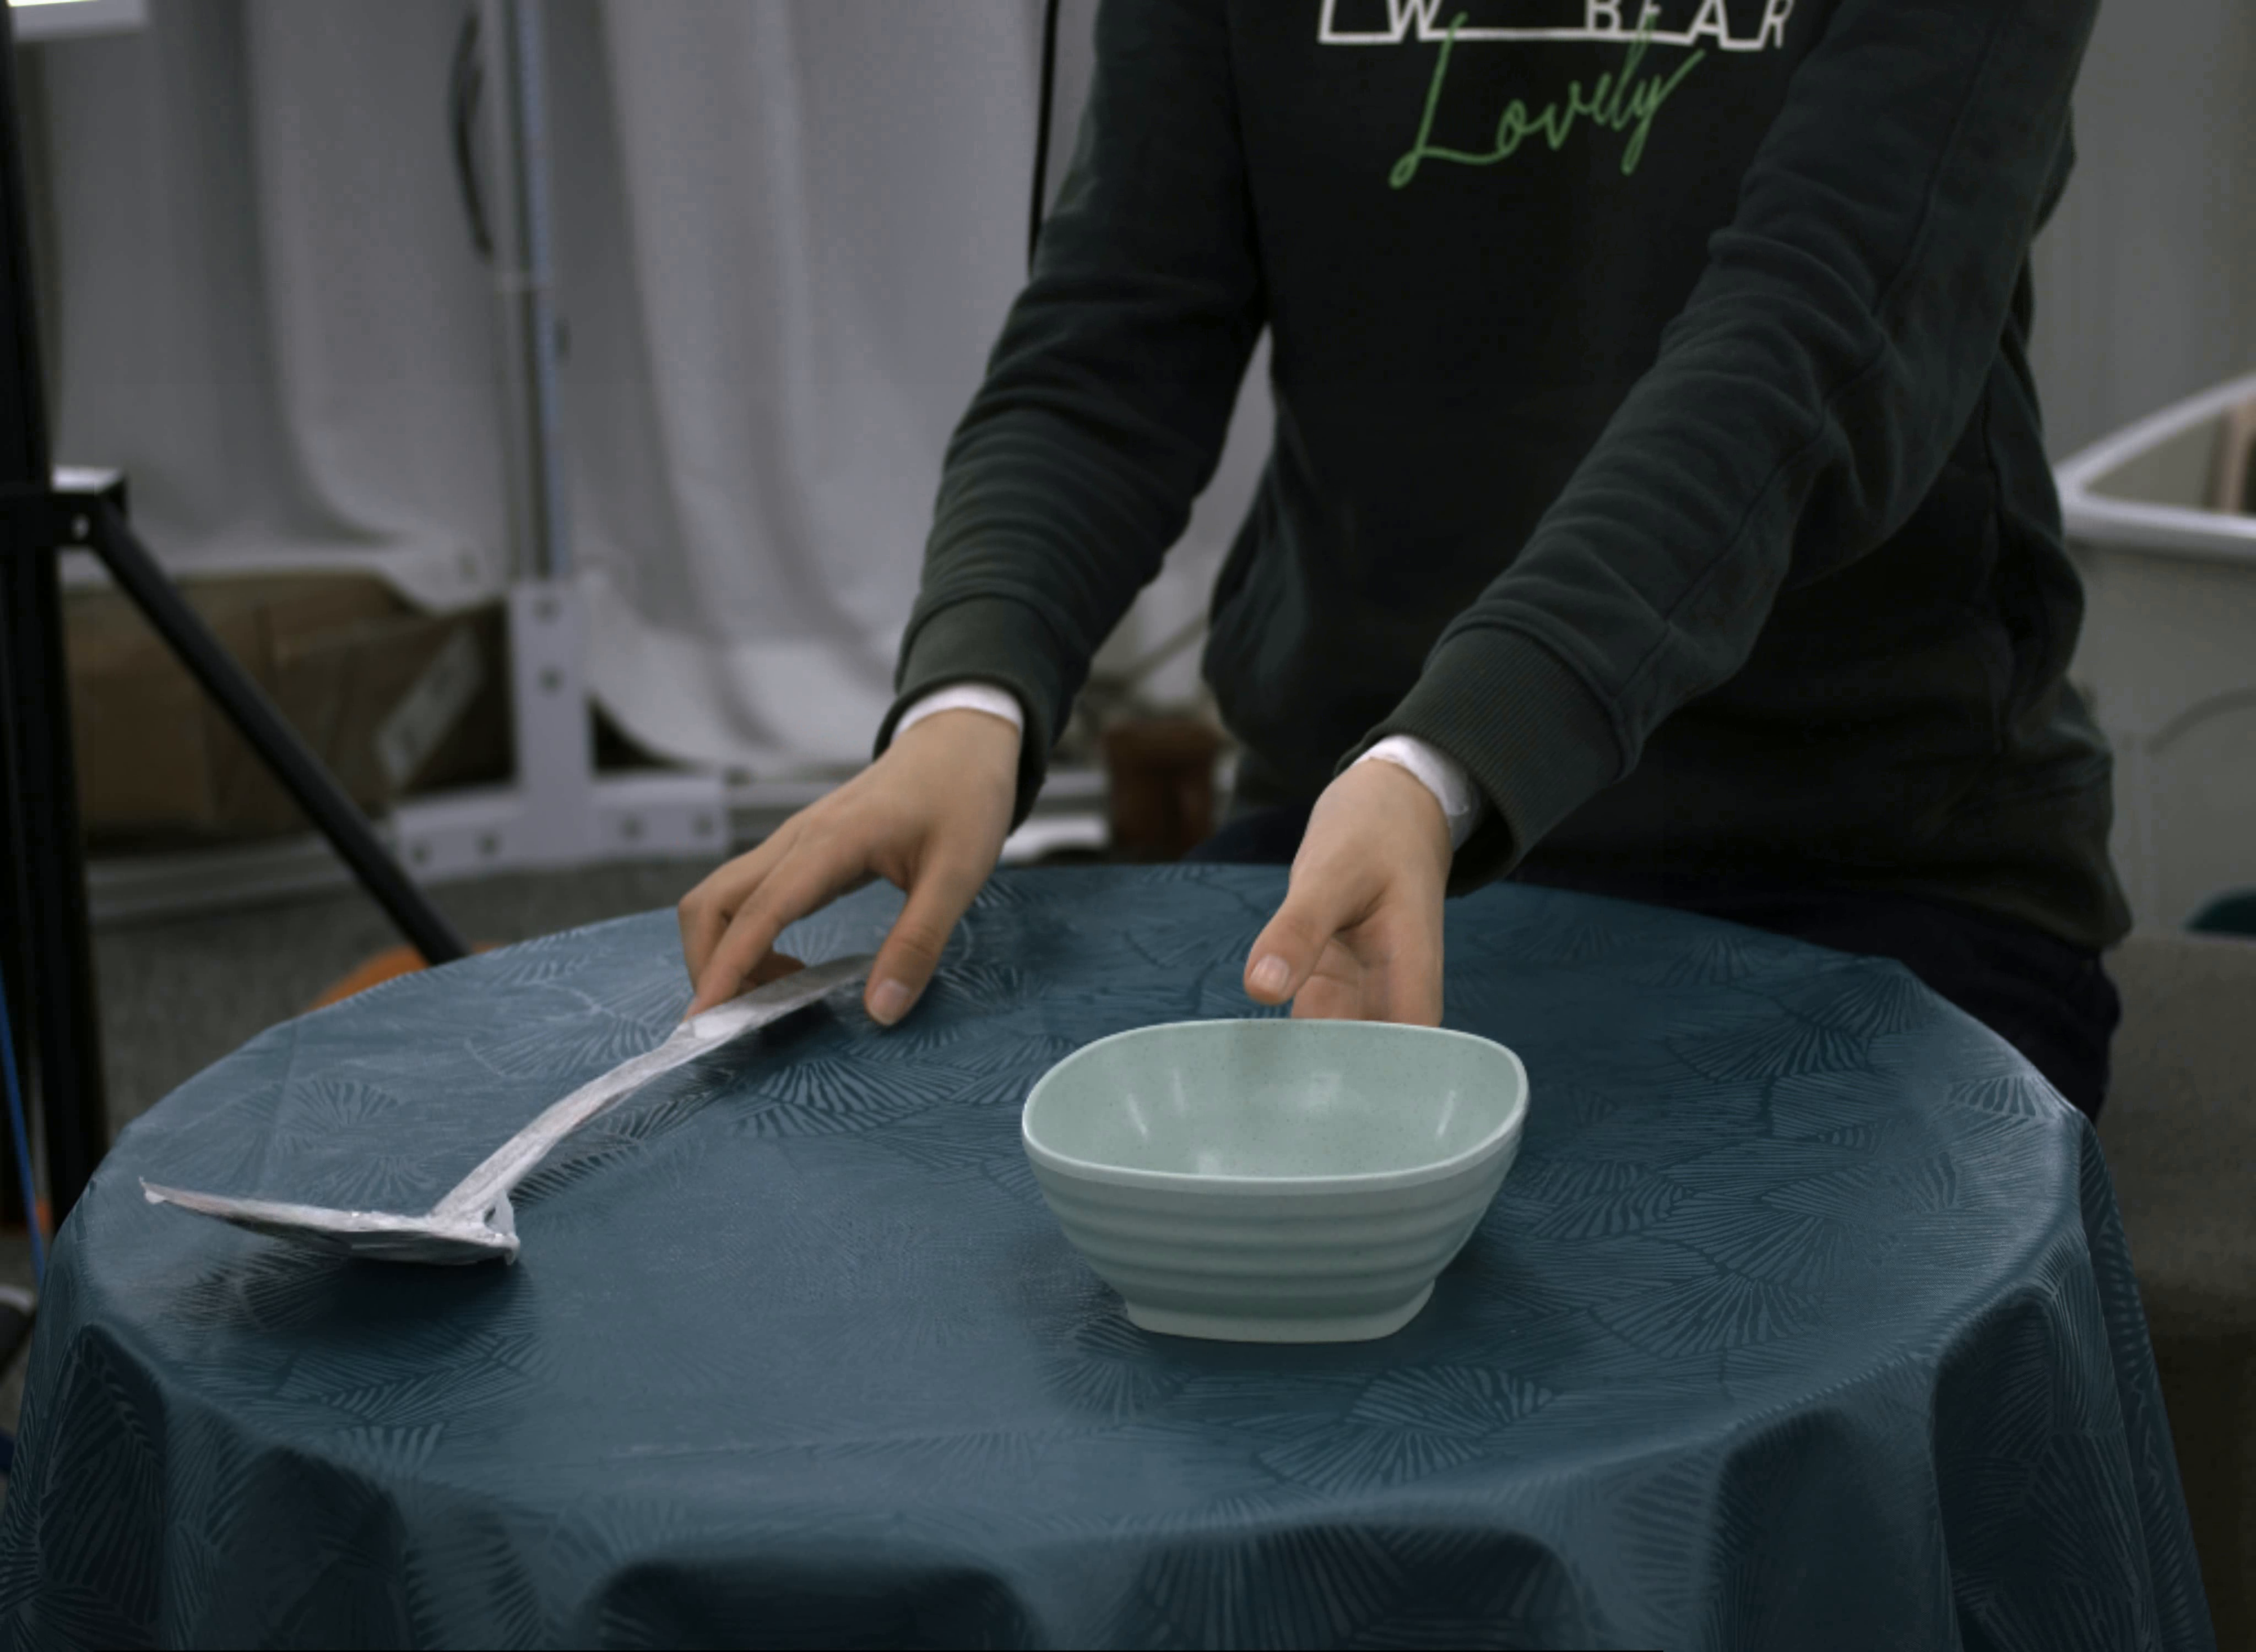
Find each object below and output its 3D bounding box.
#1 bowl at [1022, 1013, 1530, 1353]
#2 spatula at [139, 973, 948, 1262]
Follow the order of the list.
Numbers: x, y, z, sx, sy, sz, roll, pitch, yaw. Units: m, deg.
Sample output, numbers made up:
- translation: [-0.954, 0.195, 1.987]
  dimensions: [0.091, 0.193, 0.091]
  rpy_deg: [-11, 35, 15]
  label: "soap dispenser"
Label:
- translation: [0.041, 0.103, 1.469]
  dimensions: [0.150, 0.058, 0.152]
  rpy_deg: [0, 17, -1]
  label: "bowl"
- translation: [-0.156, 0.078, 1.618]
  dimensions: [0.100, 0.045, 0.358]
  rpy_deg: [4, 17, 29]
  label: "spatula"
